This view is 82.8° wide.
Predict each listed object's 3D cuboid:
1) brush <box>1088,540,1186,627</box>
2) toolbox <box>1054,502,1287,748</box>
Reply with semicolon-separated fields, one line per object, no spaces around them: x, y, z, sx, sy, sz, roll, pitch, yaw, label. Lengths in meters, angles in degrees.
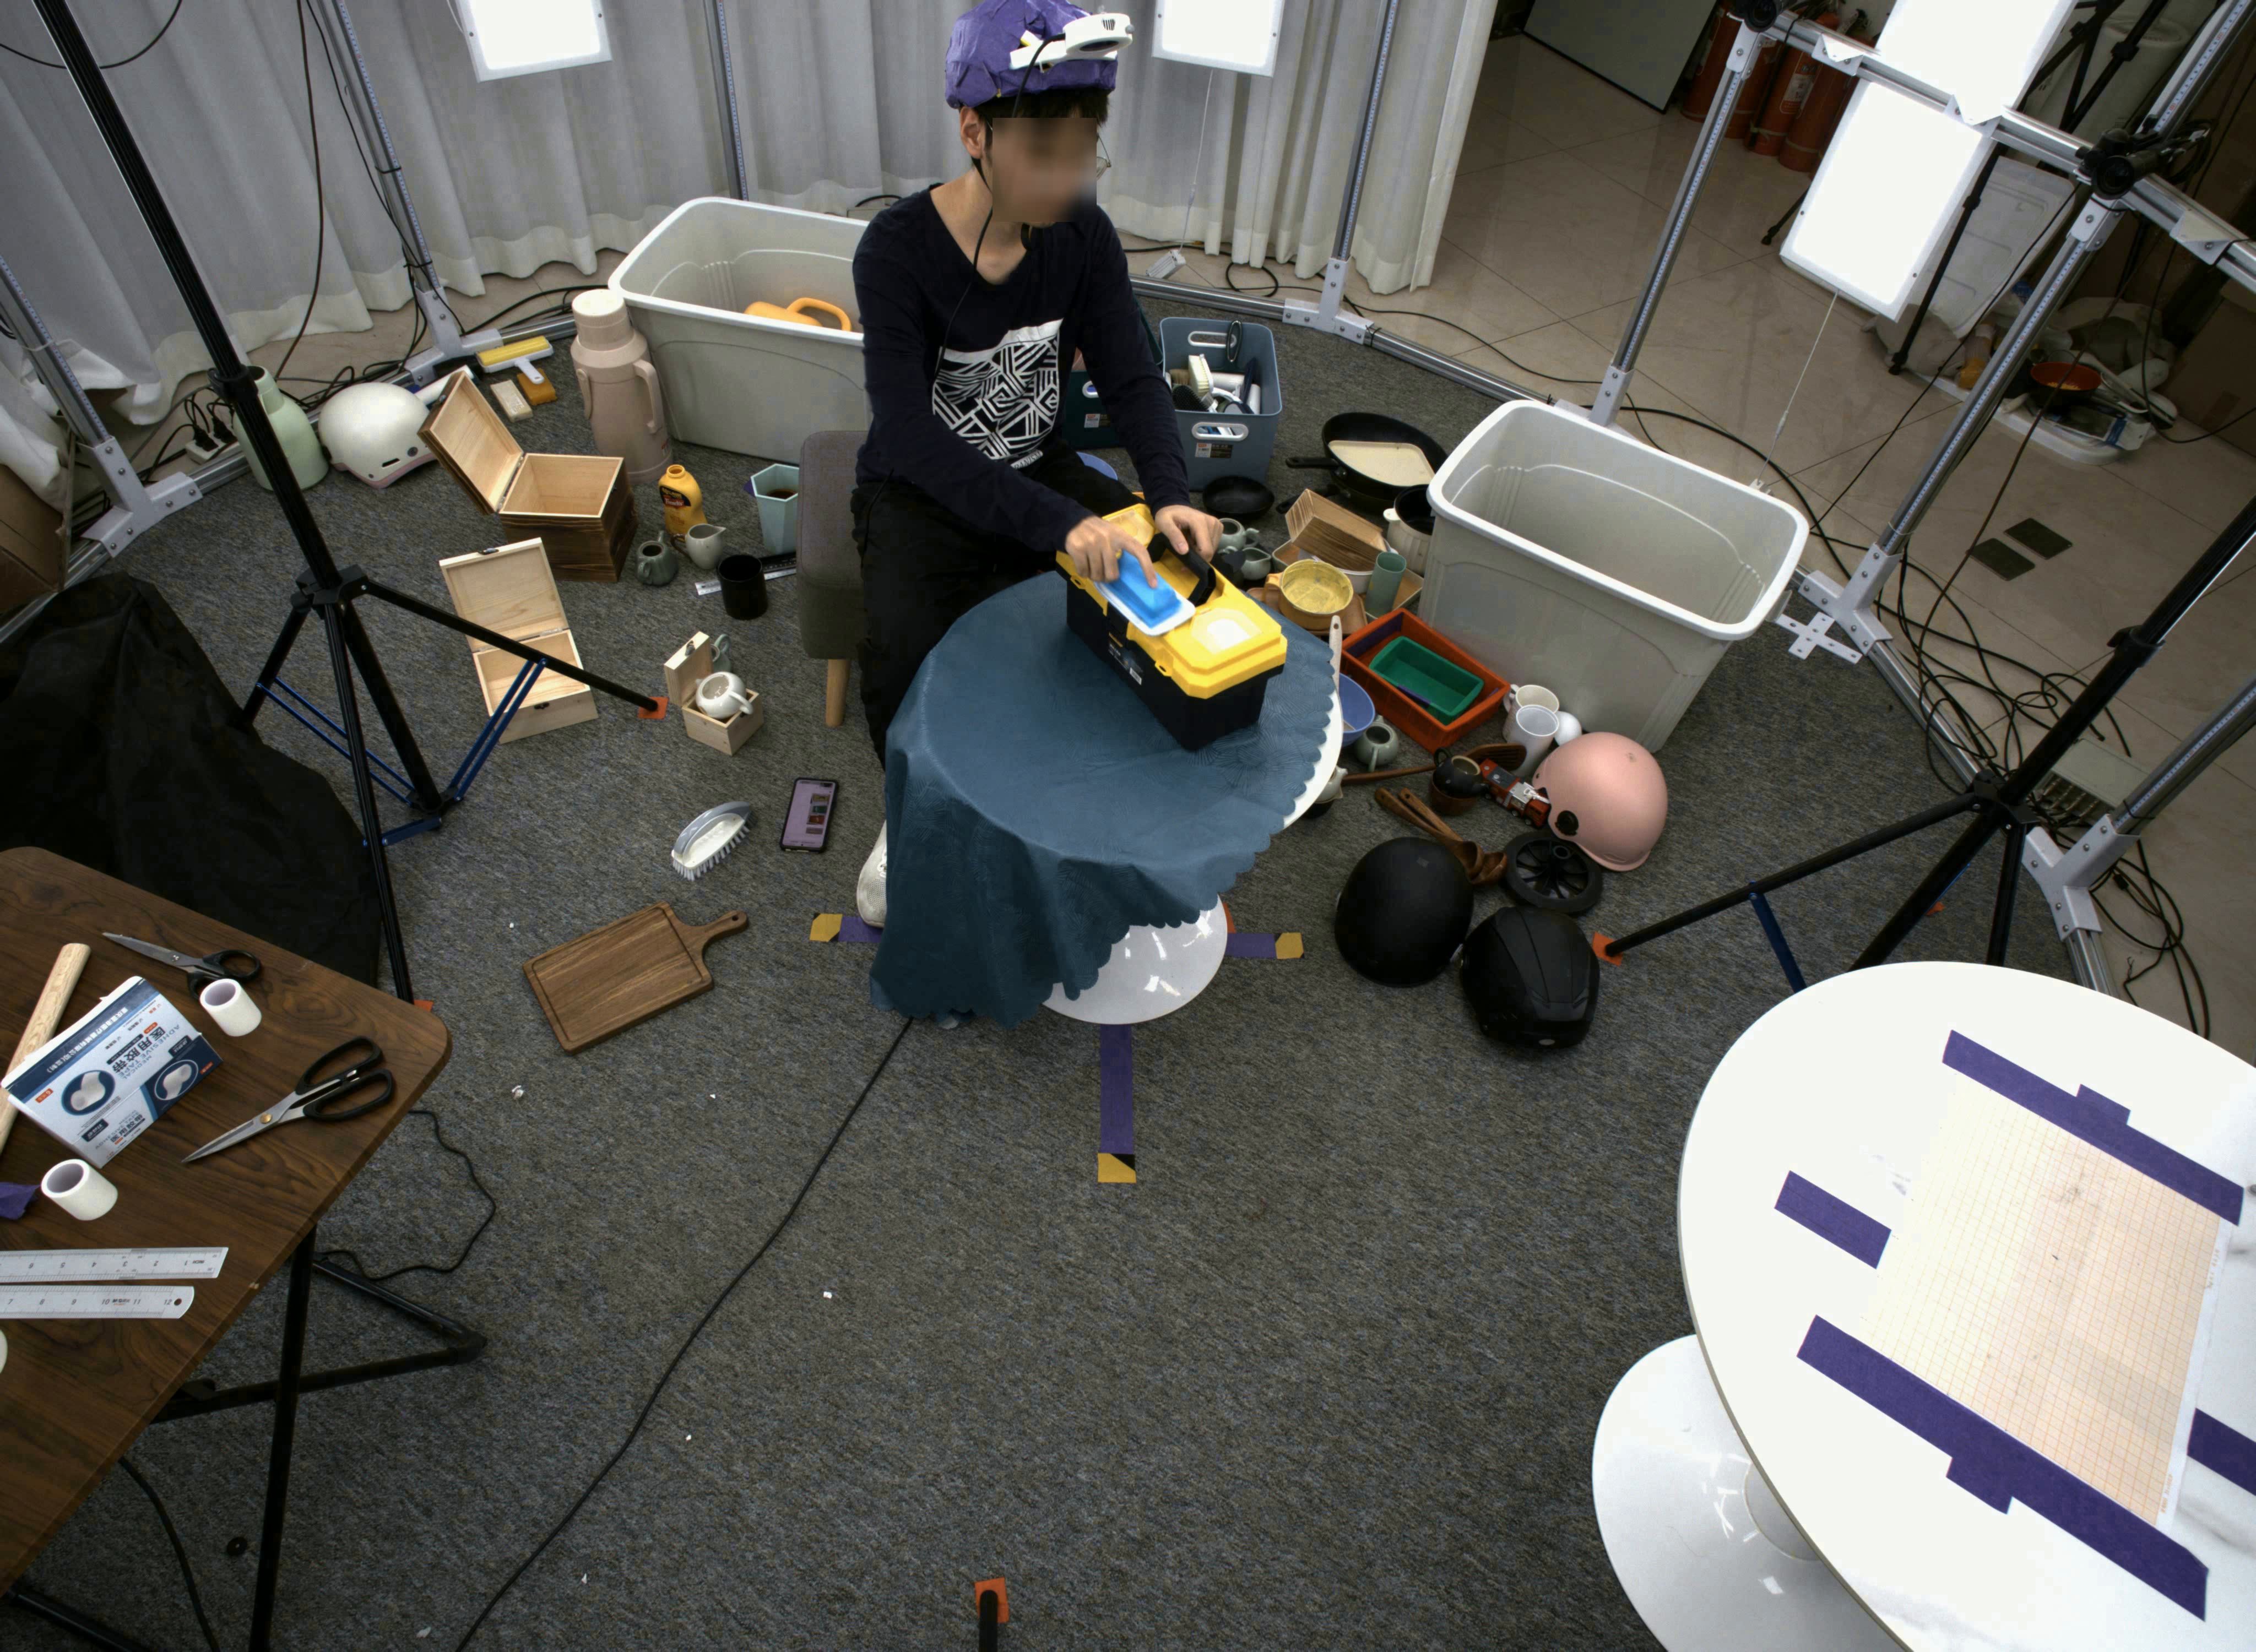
0.011;-0.327;1.699;0.084;0.054;0.147;-28;56;-15;brush
0.051;-0.283;1.803;0.182;0.168;0.358;-25;56;-24;toolbox
